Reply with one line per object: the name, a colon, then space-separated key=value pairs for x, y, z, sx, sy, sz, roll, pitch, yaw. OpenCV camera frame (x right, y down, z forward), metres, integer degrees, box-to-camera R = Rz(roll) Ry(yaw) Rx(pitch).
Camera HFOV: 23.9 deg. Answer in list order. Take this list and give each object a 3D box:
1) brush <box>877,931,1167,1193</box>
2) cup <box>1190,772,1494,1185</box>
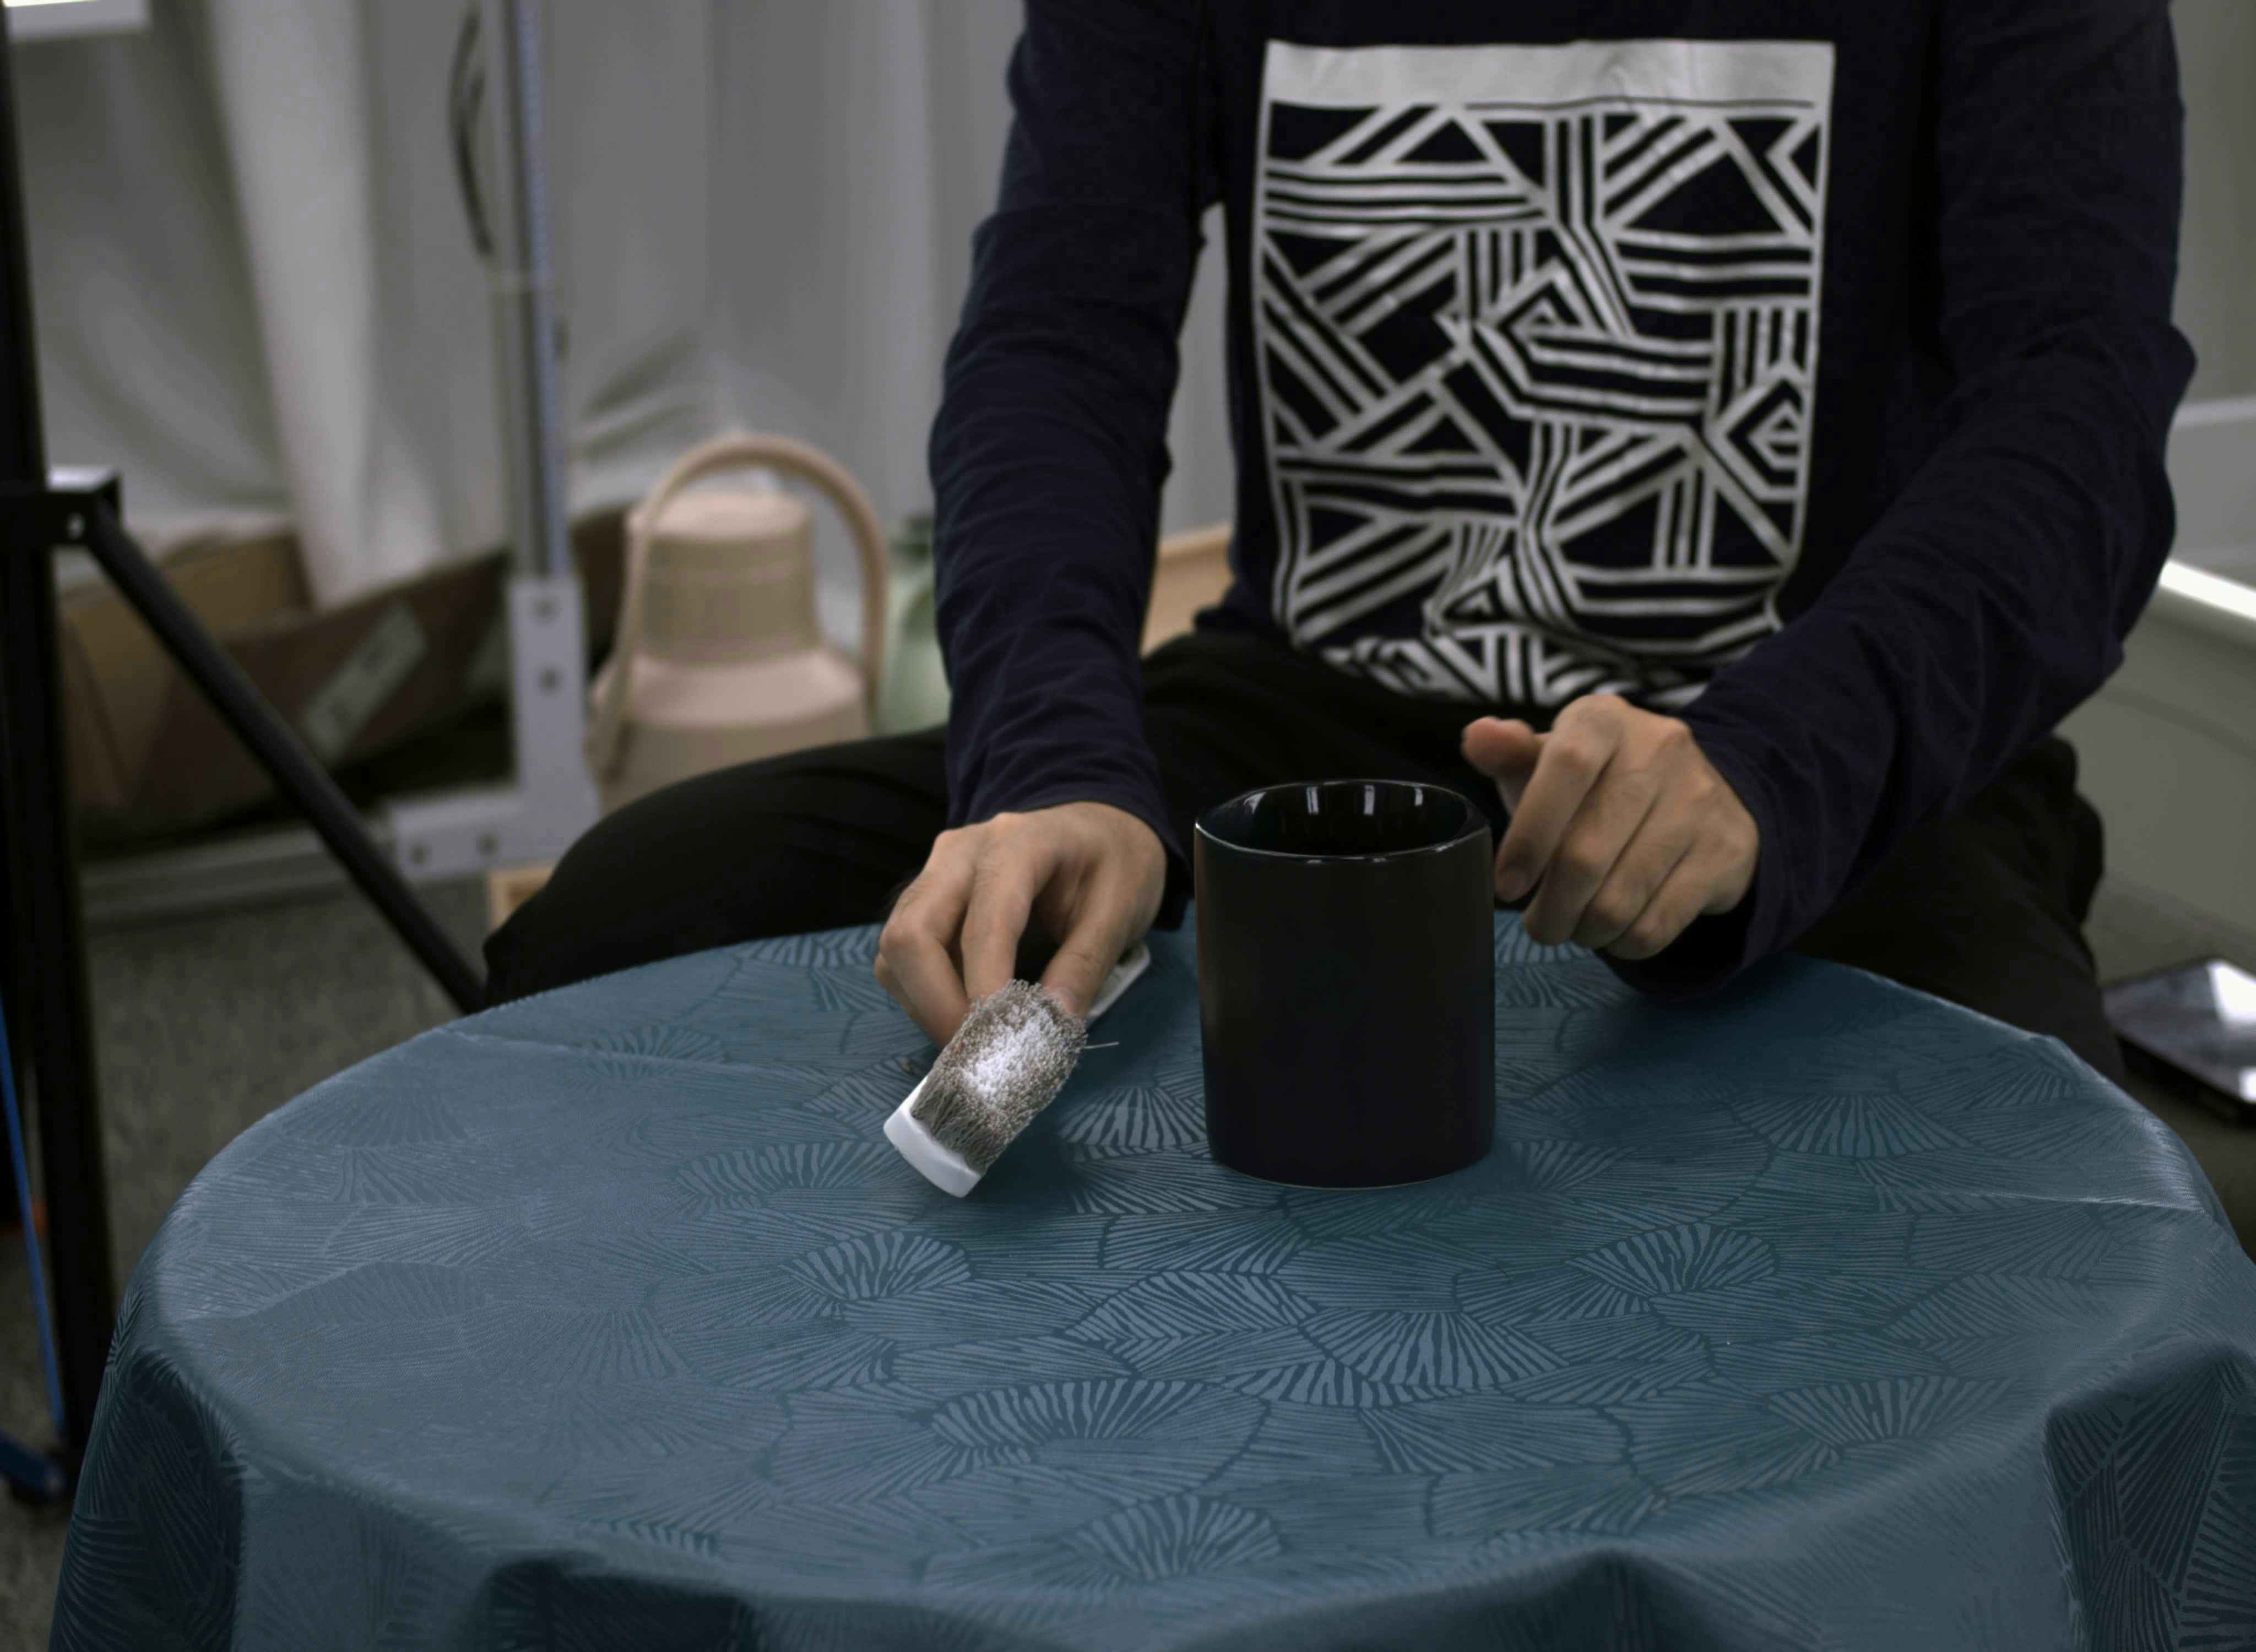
brush: x=-0.019 y=0.056 z=1.654 sx=0.034 sy=0.050 sz=0.241 roll=38 pitch=22 yaw=5
cup: x=0.072 y=0.041 z=1.596 sx=0.090 sy=0.105 sz=0.121 roll=3 pitch=14 yaw=26
